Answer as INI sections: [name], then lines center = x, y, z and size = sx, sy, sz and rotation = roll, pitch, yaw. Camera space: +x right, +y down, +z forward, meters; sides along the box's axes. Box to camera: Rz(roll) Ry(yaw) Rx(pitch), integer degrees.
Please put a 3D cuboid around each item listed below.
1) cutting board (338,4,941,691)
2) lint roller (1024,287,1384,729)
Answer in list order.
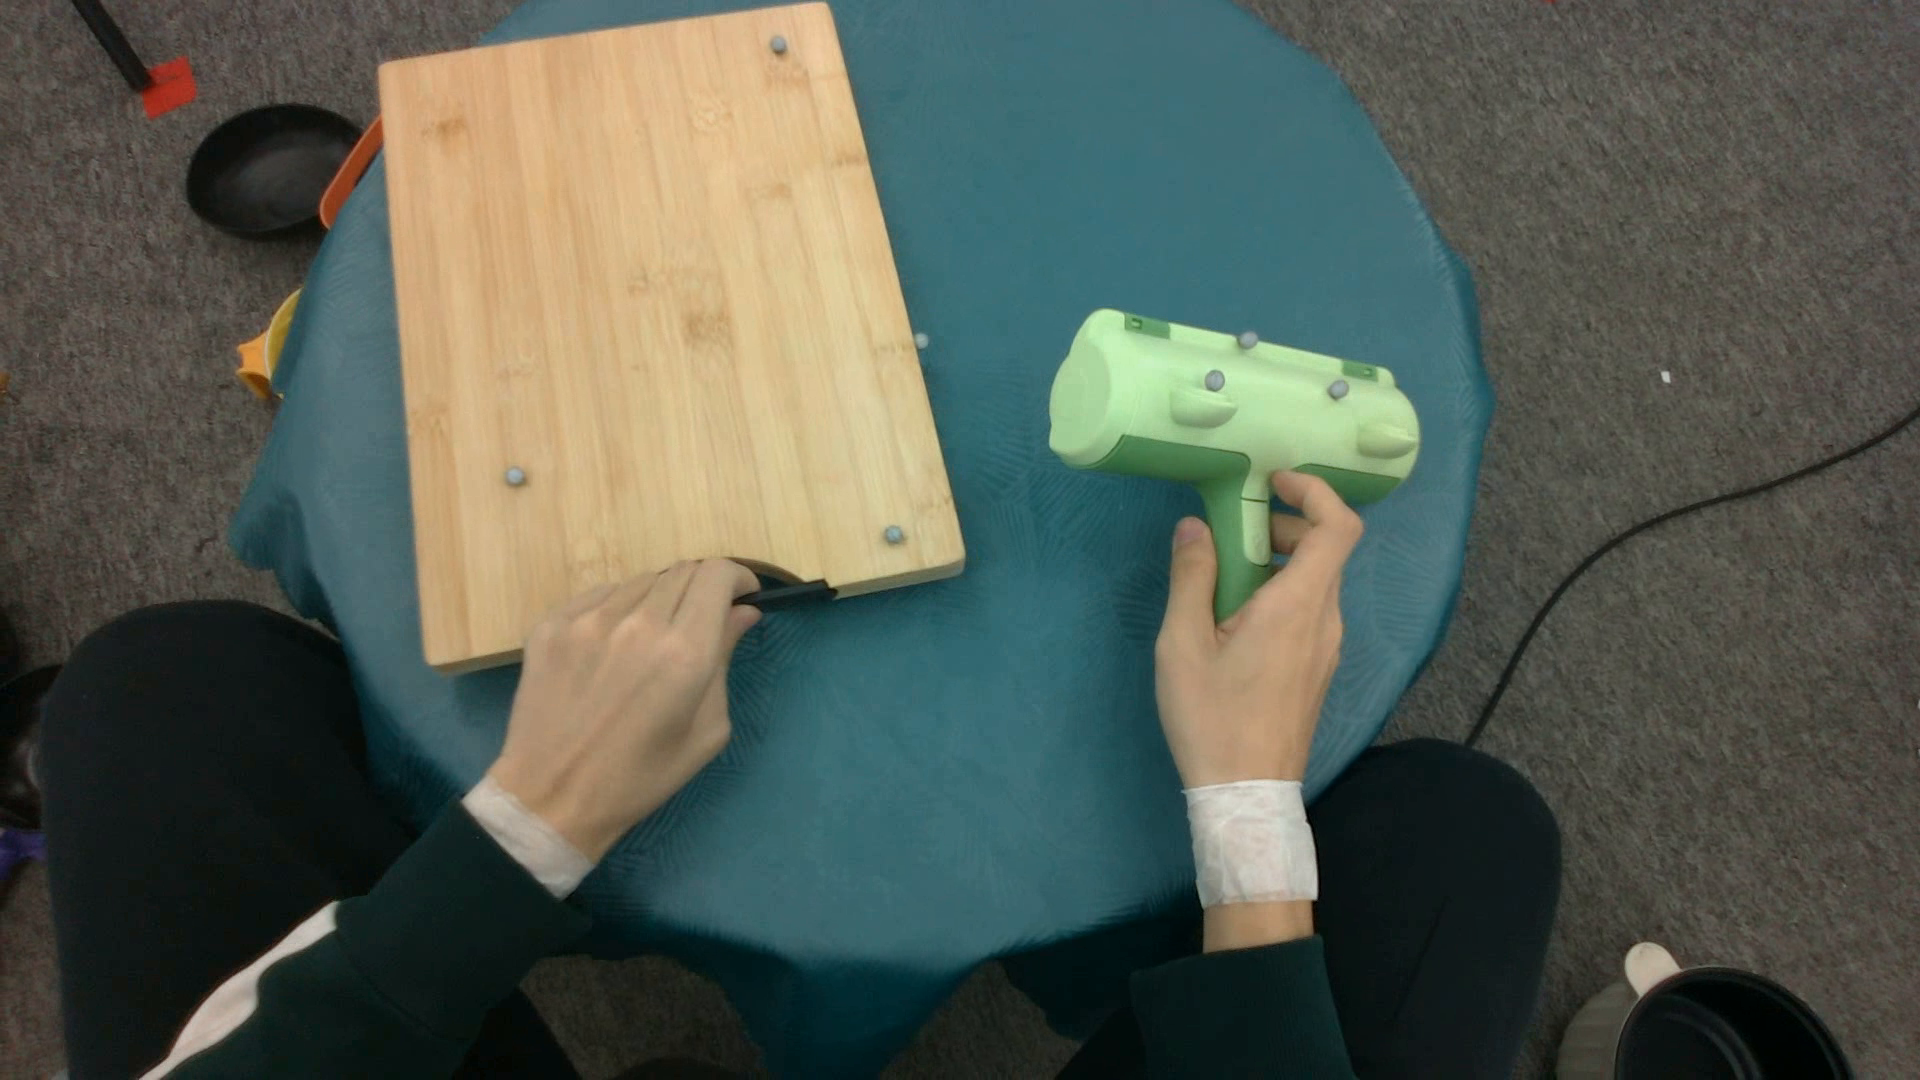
[cutting board]
center = -0.167, -0.115, 0.676
size = 0.251, 0.023, 0.349
rotation = -13, 67, -8
[lint roller]
center = 0.124, -0.011, 0.609
size = 0.199, 0.082, 0.183
rotation = 3, 76, -39
